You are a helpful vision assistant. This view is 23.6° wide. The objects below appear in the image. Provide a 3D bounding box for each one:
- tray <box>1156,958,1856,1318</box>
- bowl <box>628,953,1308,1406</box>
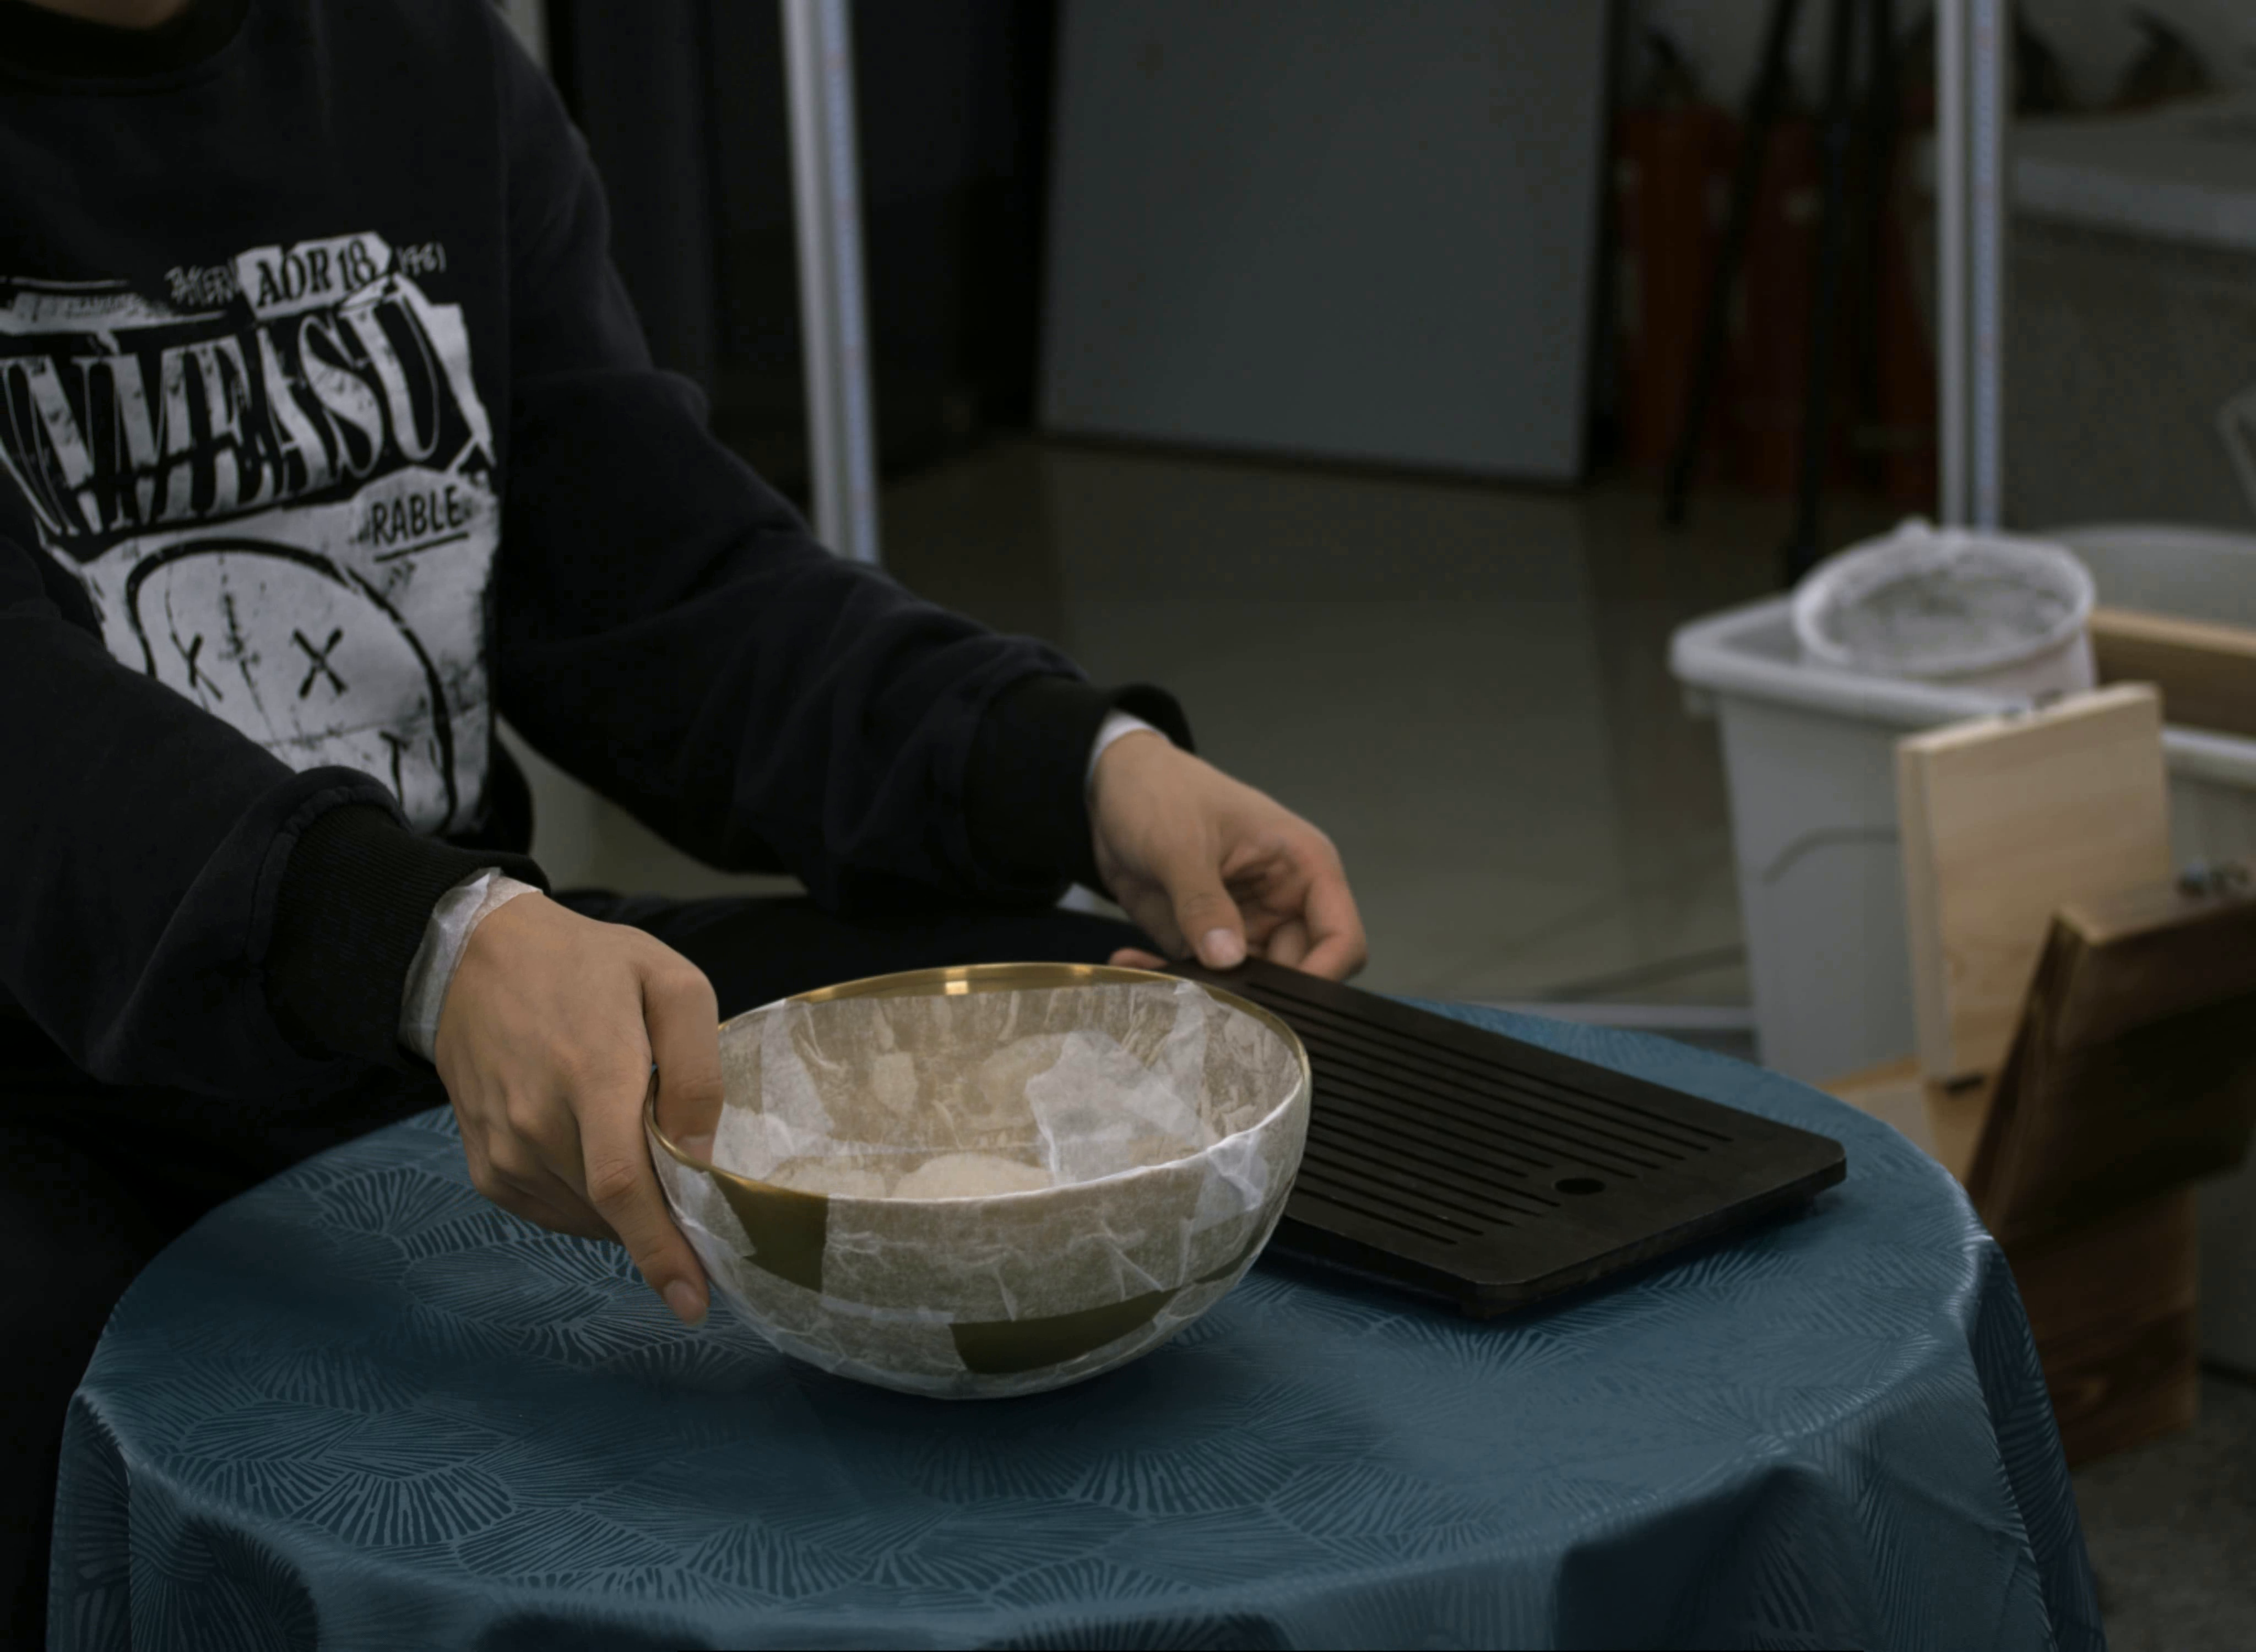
[{"bbox_3d":[0.076,0.099,1.771,0.166,0.019,0.309,-16,21,-38],"label":"tray"},{"bbox_3d":[-0.043,0.114,1.610,0.212,0.095,0.215,-5,18,1],"label":"bowl"}]
